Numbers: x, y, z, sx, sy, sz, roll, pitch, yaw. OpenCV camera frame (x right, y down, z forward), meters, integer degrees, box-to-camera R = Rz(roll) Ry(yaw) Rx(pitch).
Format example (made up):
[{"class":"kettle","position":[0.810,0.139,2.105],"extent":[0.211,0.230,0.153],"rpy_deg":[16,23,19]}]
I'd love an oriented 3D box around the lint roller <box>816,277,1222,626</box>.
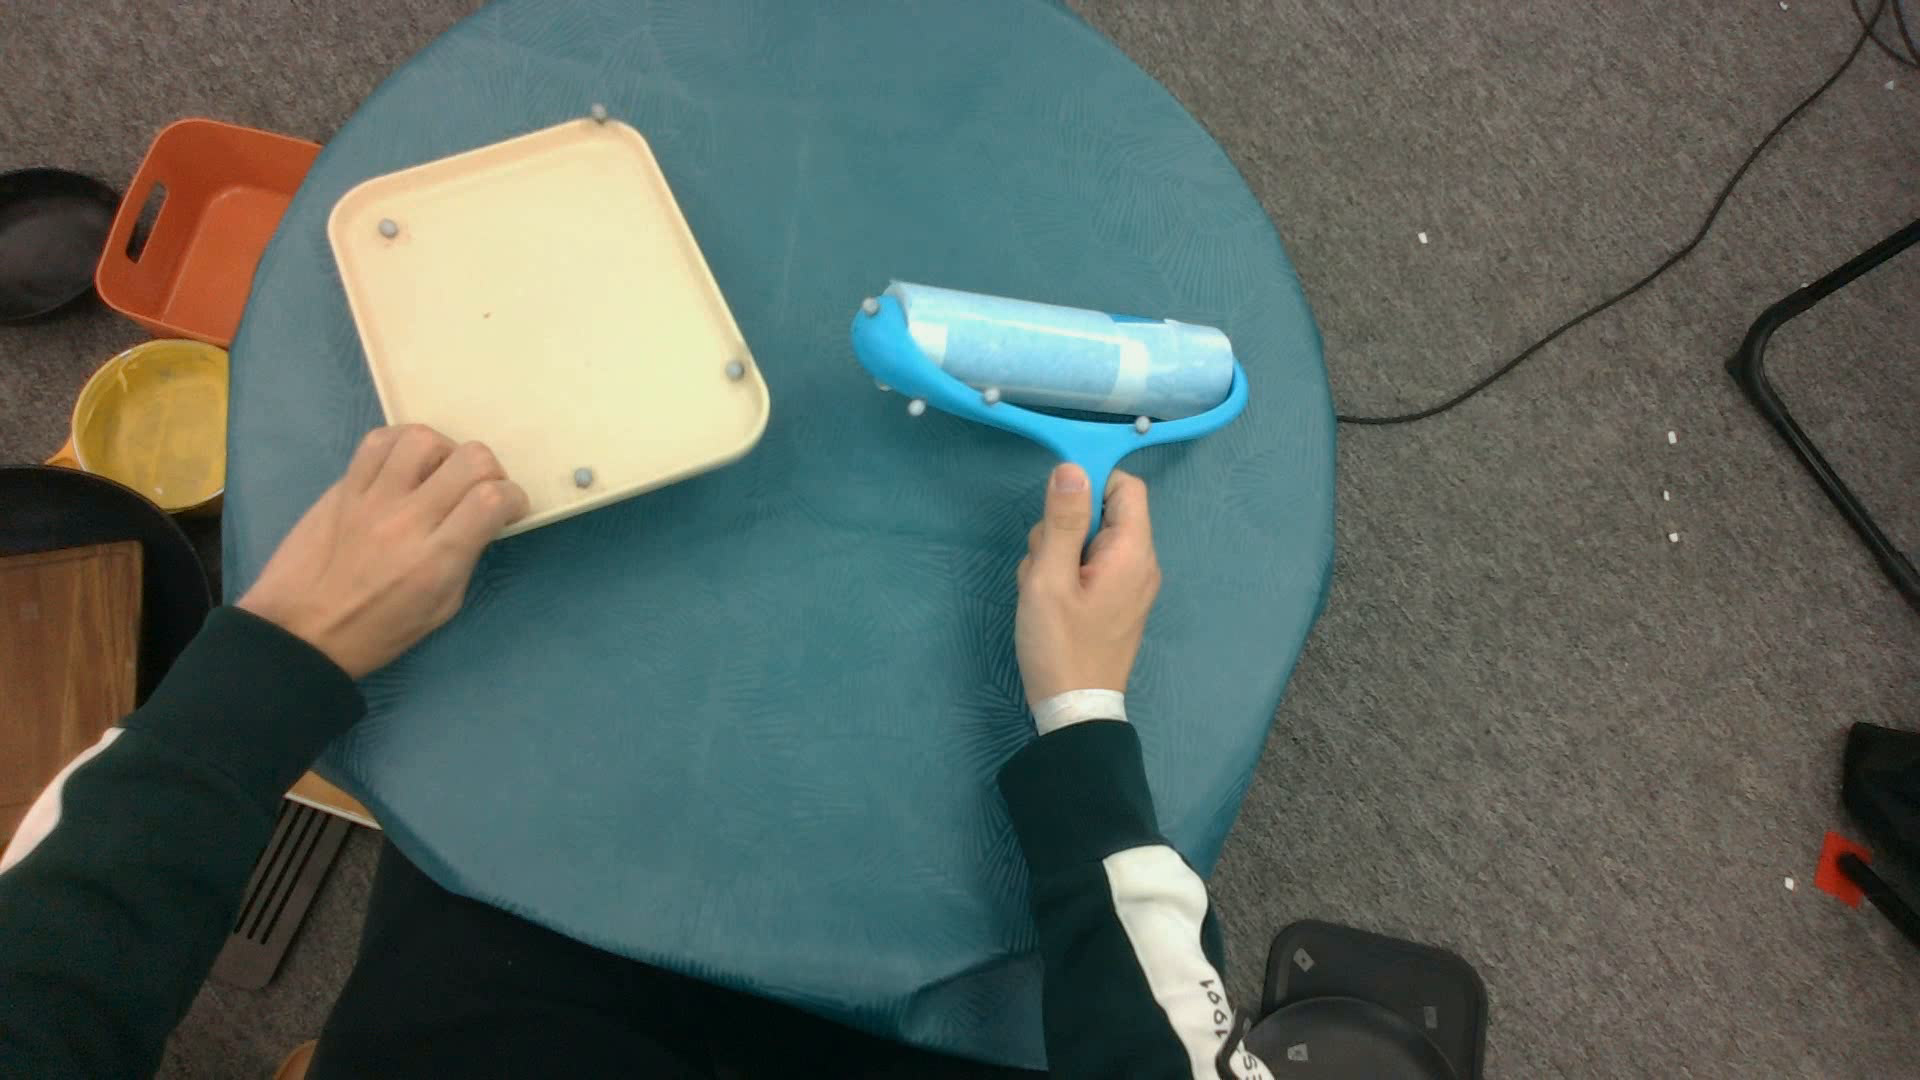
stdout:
[{"class":"lint roller","position":[0.043,-0.049,0.720],"extent":[0.229,0.067,0.180],"rpy_deg":[-3,78,-25]}]

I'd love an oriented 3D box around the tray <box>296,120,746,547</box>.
[{"class":"tray","position":[-0.223,-0.111,0.697],"extent":[0.172,0.017,0.240],"rpy_deg":[-21,65,-17]}]
